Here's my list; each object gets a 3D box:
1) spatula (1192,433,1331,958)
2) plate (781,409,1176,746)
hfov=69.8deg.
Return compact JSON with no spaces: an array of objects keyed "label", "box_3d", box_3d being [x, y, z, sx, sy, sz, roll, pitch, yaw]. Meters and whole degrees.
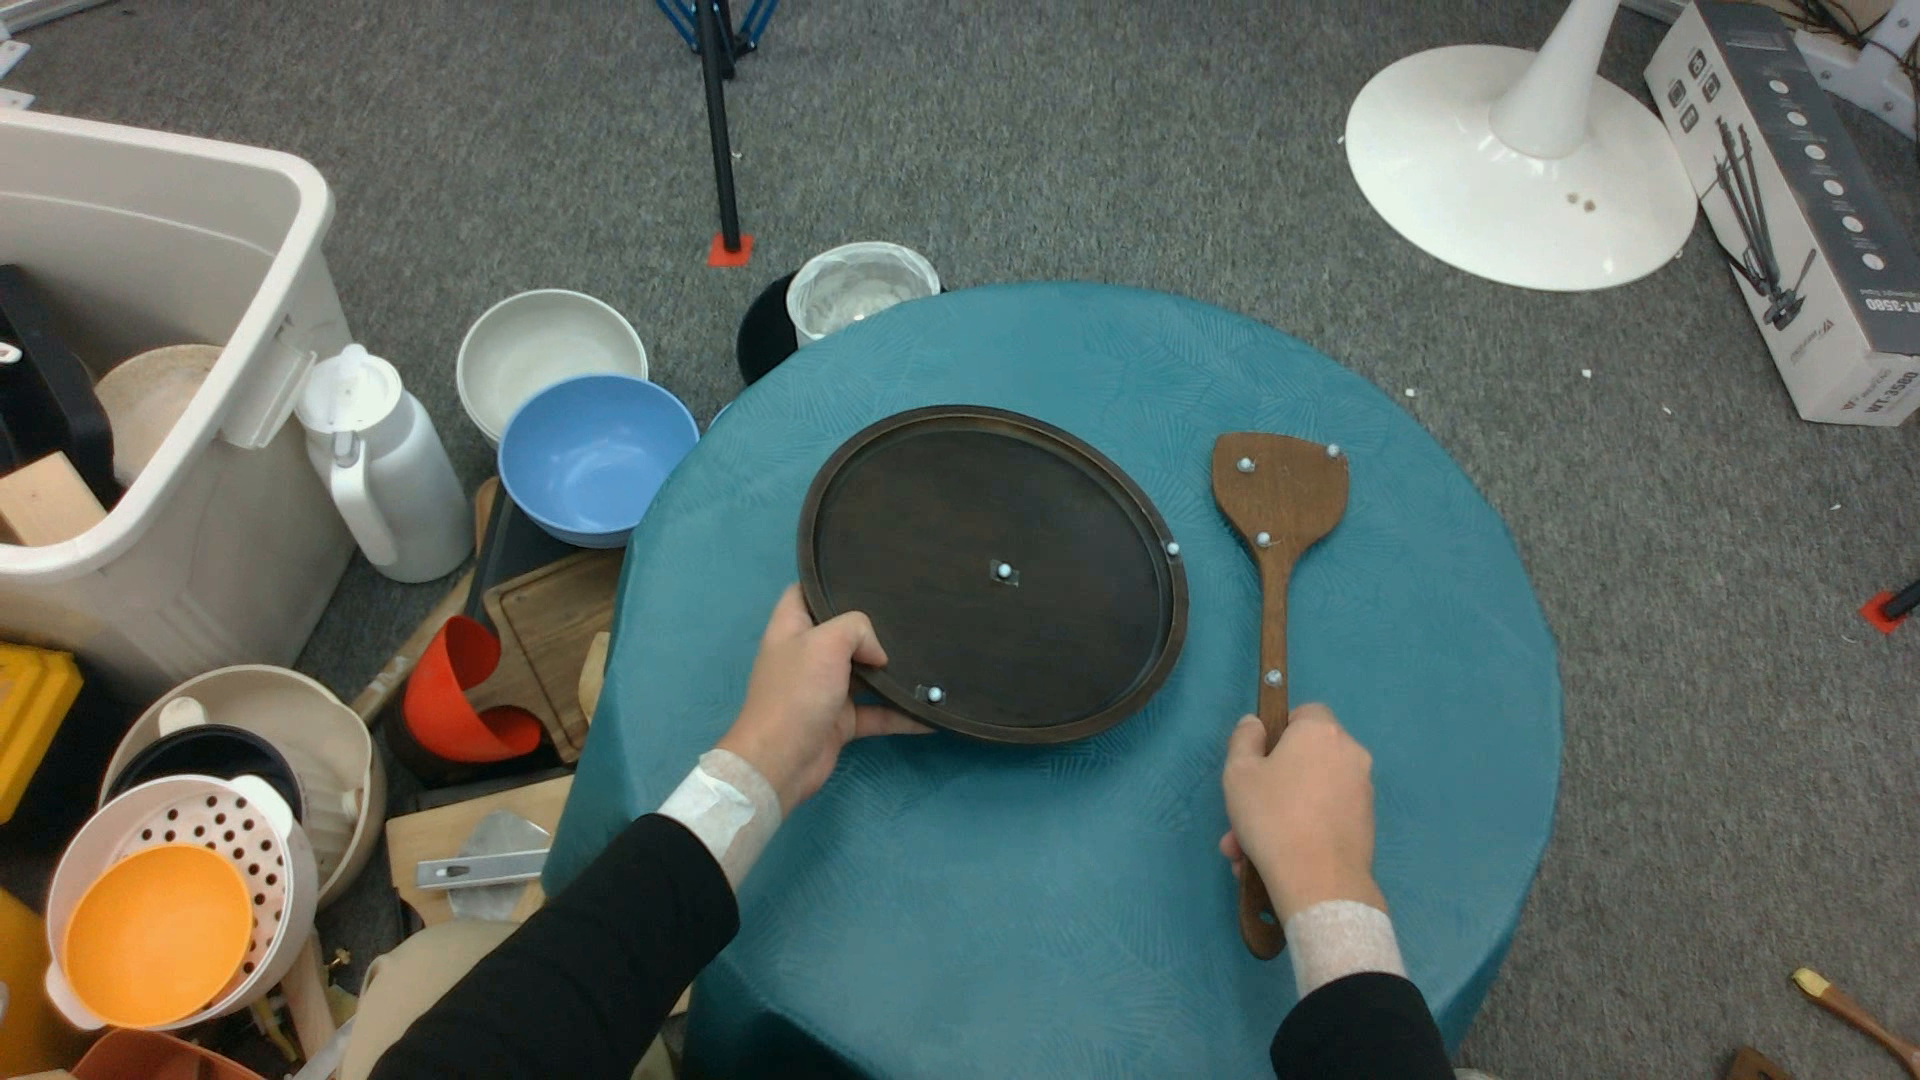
[{"label":"spatula","box_3d":[0.182,0.073,0.850,0.096,0.016,0.388,10,50,2]},{"label":"plate","box_3d":[0.013,0.017,0.860,0.255,0.029,0.256,10,50,-12]}]
